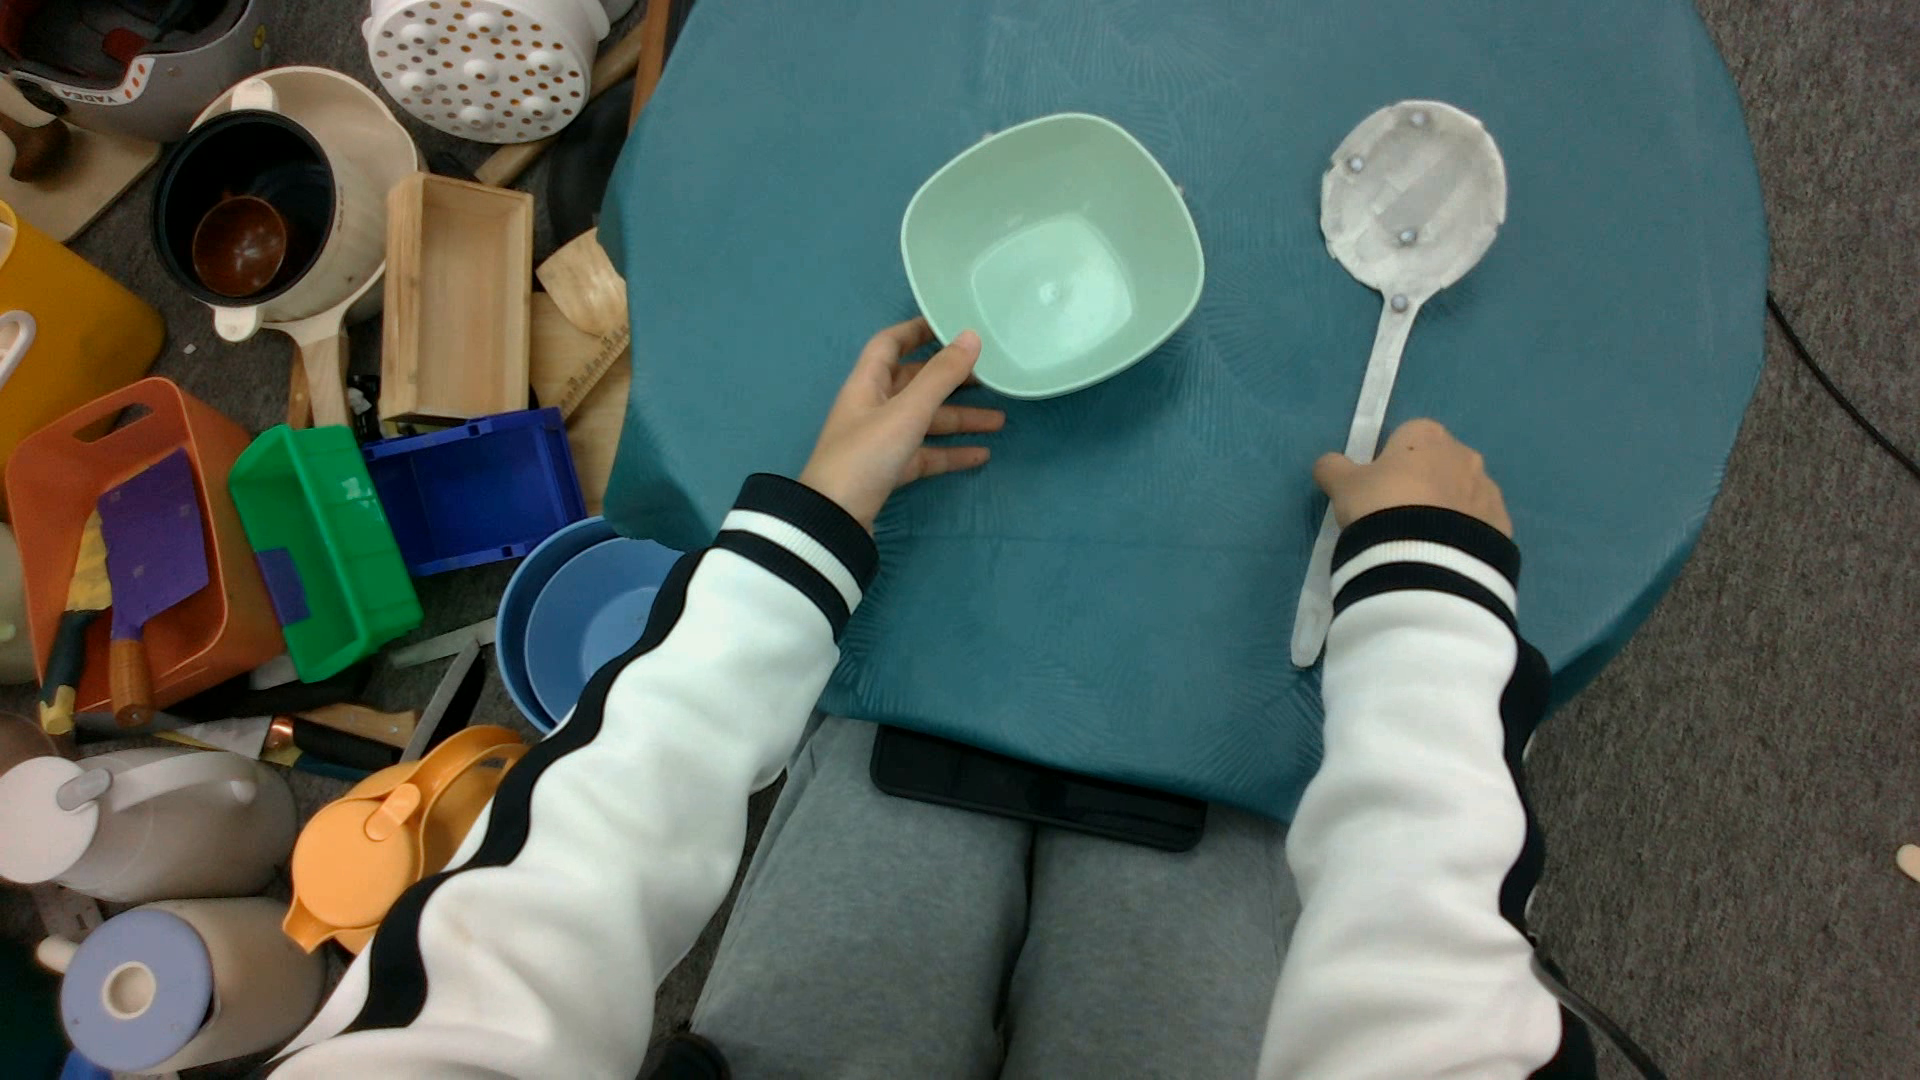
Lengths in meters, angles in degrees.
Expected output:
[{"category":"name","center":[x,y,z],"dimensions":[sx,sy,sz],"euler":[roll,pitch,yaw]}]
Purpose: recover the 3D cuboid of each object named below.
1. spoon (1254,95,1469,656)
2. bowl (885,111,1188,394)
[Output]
[{"category":"spoon","center":[0.176,-0.081,0.680],"dimensions":[0.100,0.059,0.278],"euler":[12,79,47]},{"category":"bowl","center":[0.038,-0.137,0.701],"dimensions":[0.151,0.058,0.152],"euler":[-1,77,3]}]
